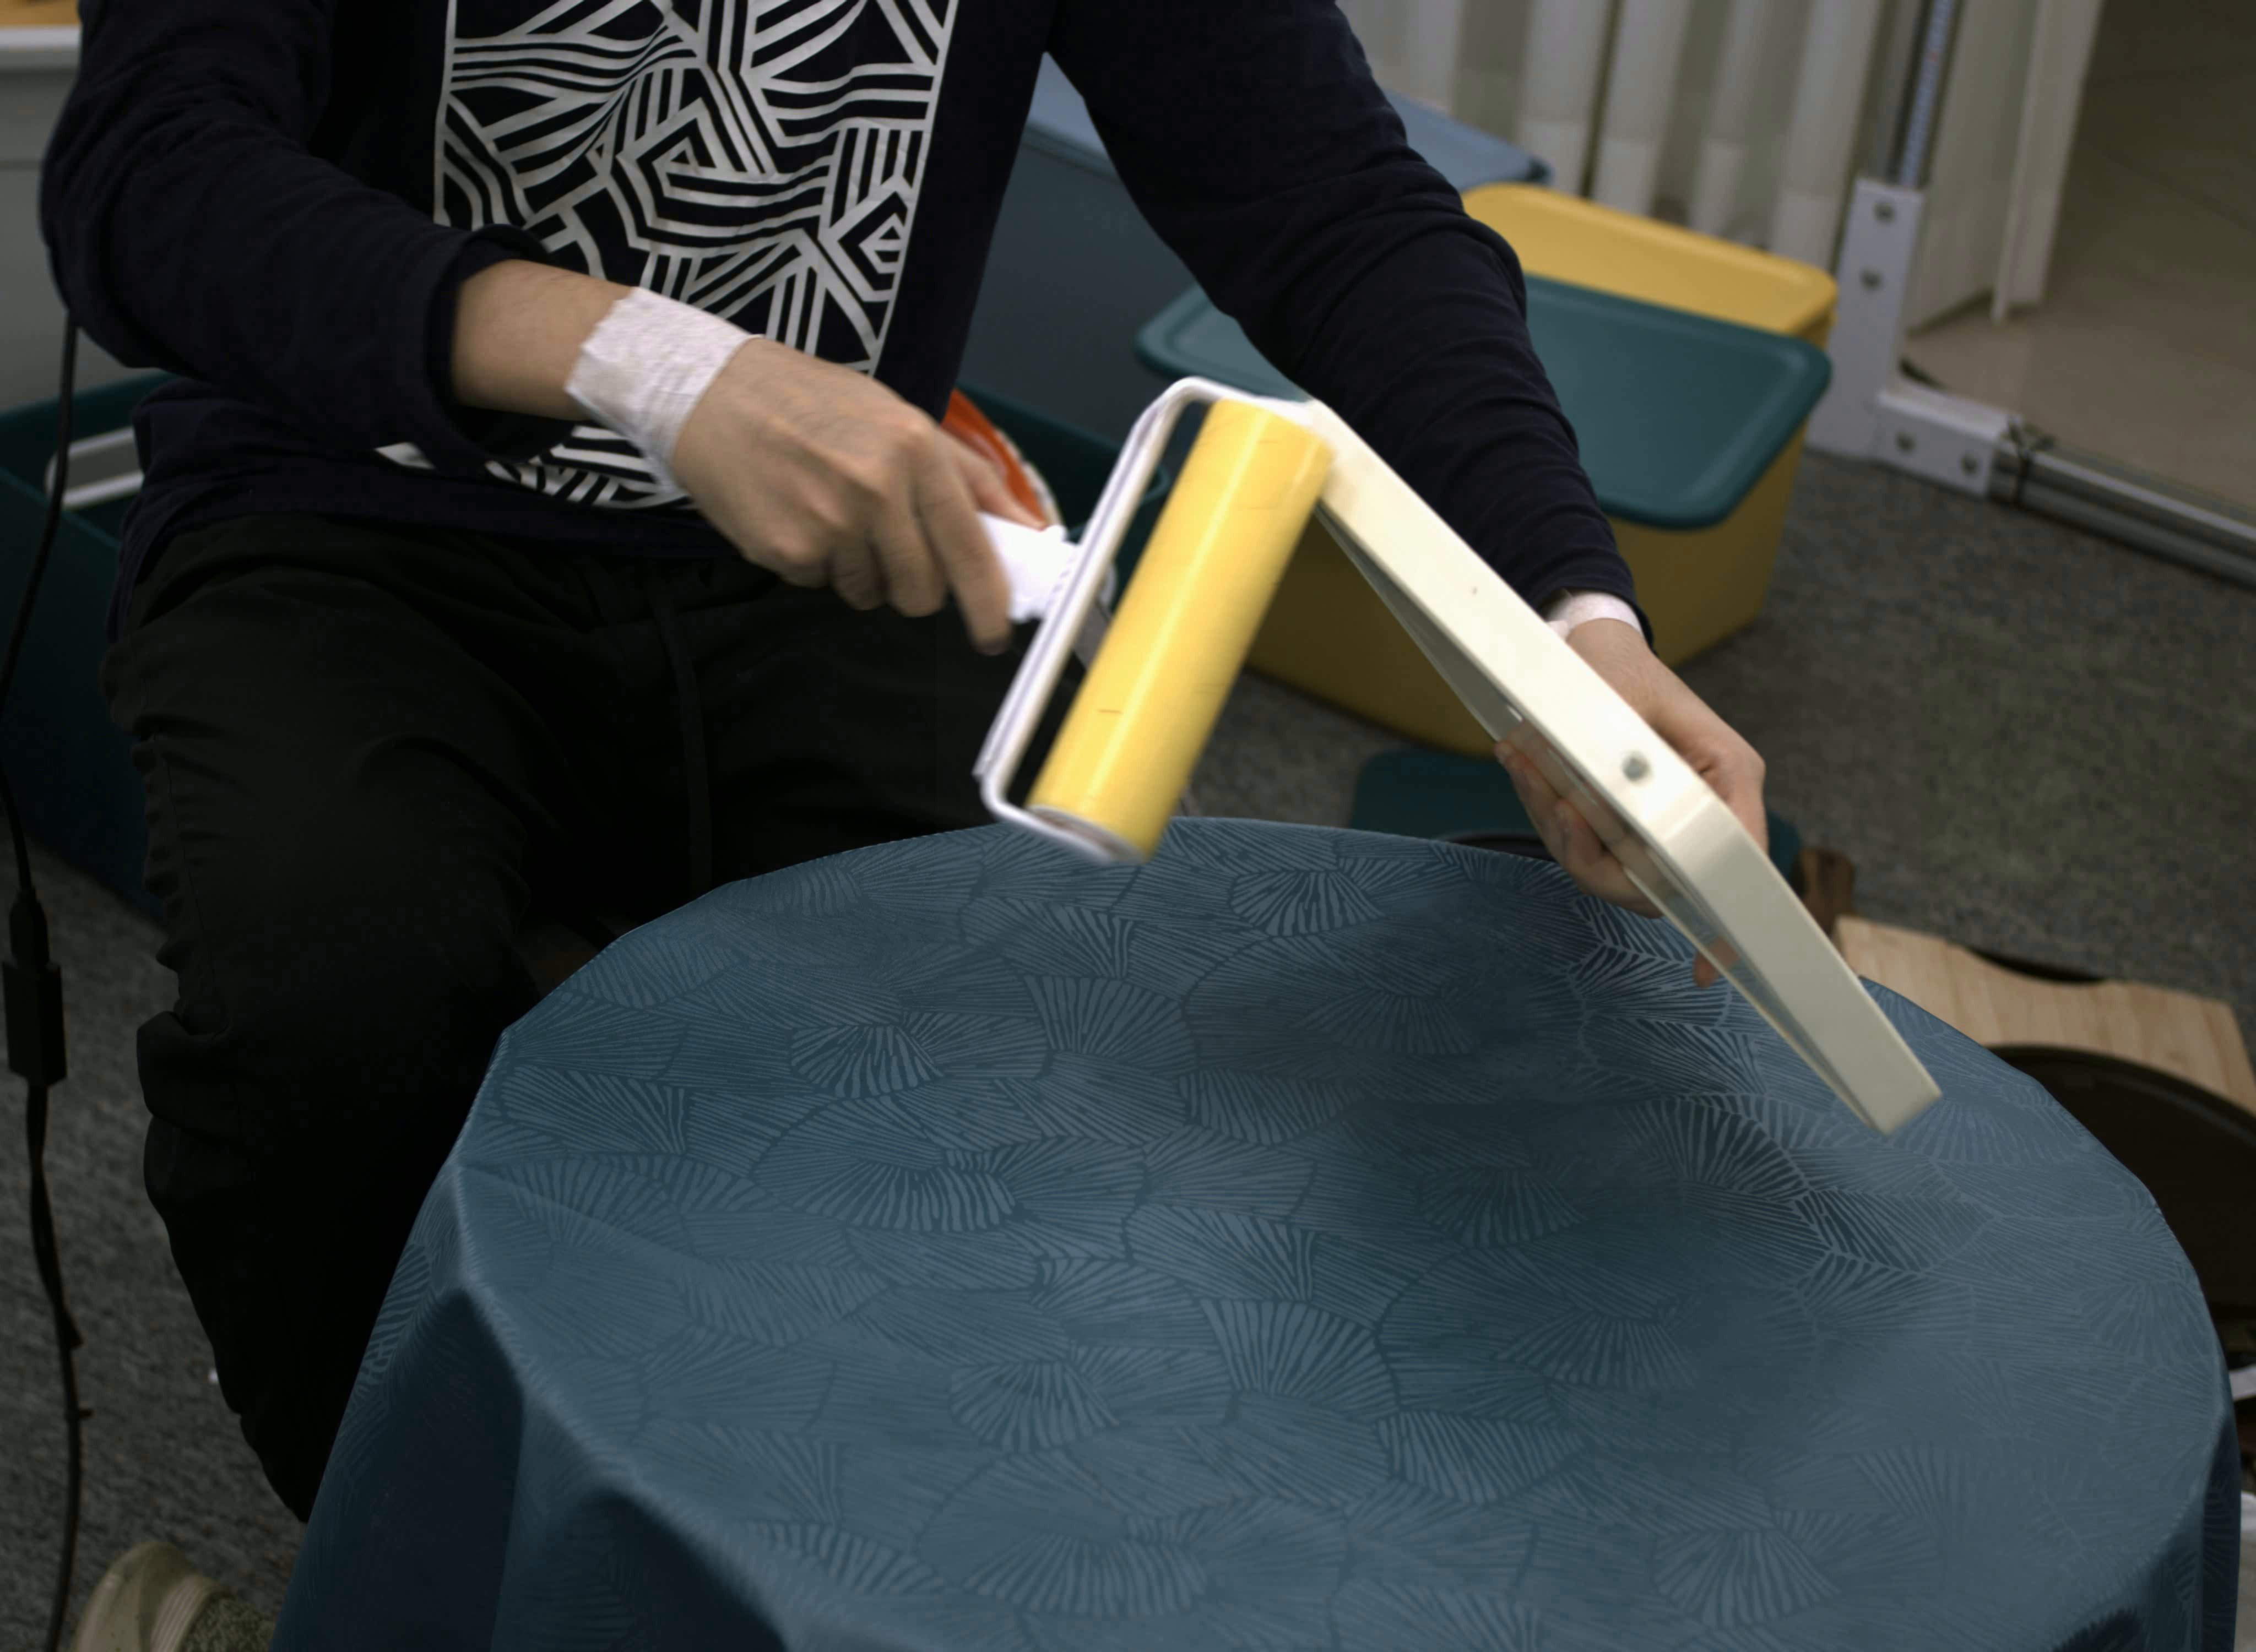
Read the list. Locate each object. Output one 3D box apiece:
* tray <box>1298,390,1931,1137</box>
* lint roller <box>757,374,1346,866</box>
[{"bbox_3d":[0.160,-0.024,1.864,0.027,0.190,0.303,-40,41,0],"label":"tray"},{"bbox_3d":[-0.042,-0.094,1.860,0.192,0.175,0.051,21,-12,6],"label":"lint roller"}]
